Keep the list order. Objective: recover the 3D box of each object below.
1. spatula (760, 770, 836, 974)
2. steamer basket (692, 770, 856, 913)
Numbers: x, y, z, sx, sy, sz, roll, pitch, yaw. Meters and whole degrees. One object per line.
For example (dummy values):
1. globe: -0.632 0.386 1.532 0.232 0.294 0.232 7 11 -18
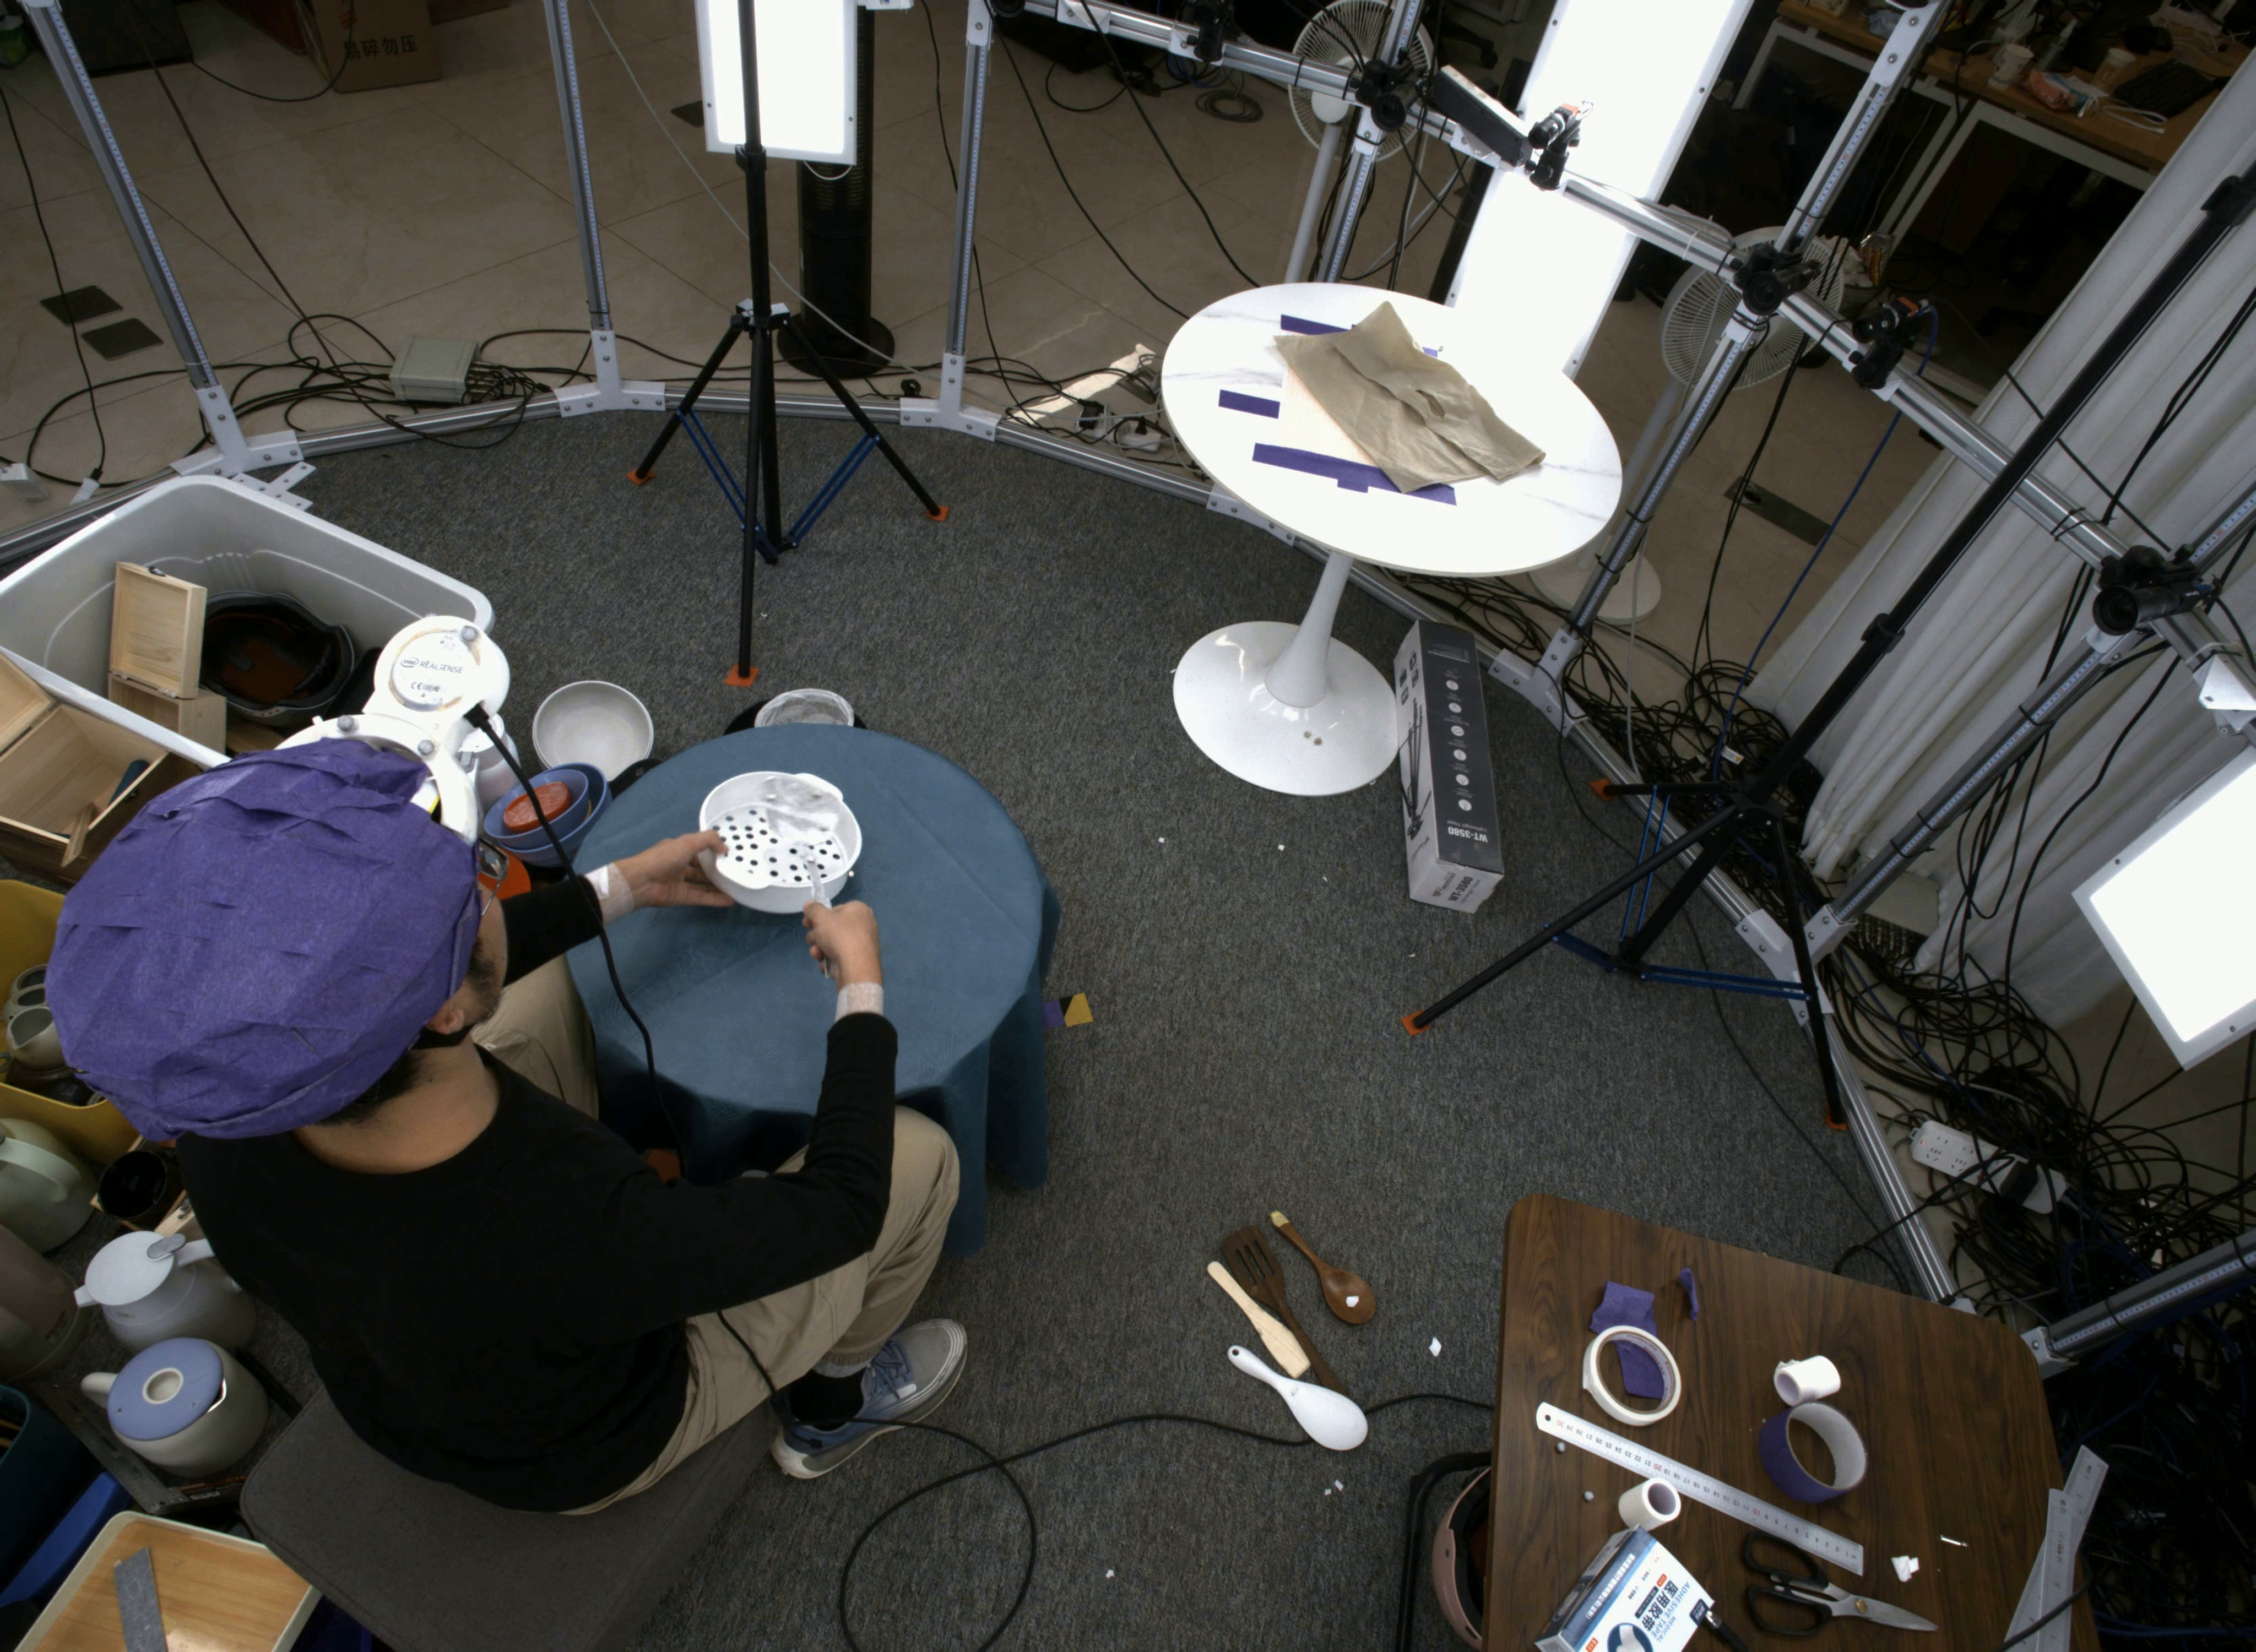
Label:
1. spatula: -0.365 0.046 1.484 0.101 0.045 0.353 18 23 -30
2. steamer basket: -0.448 0.019 1.632 0.201 0.070 0.228 27 39 -1
